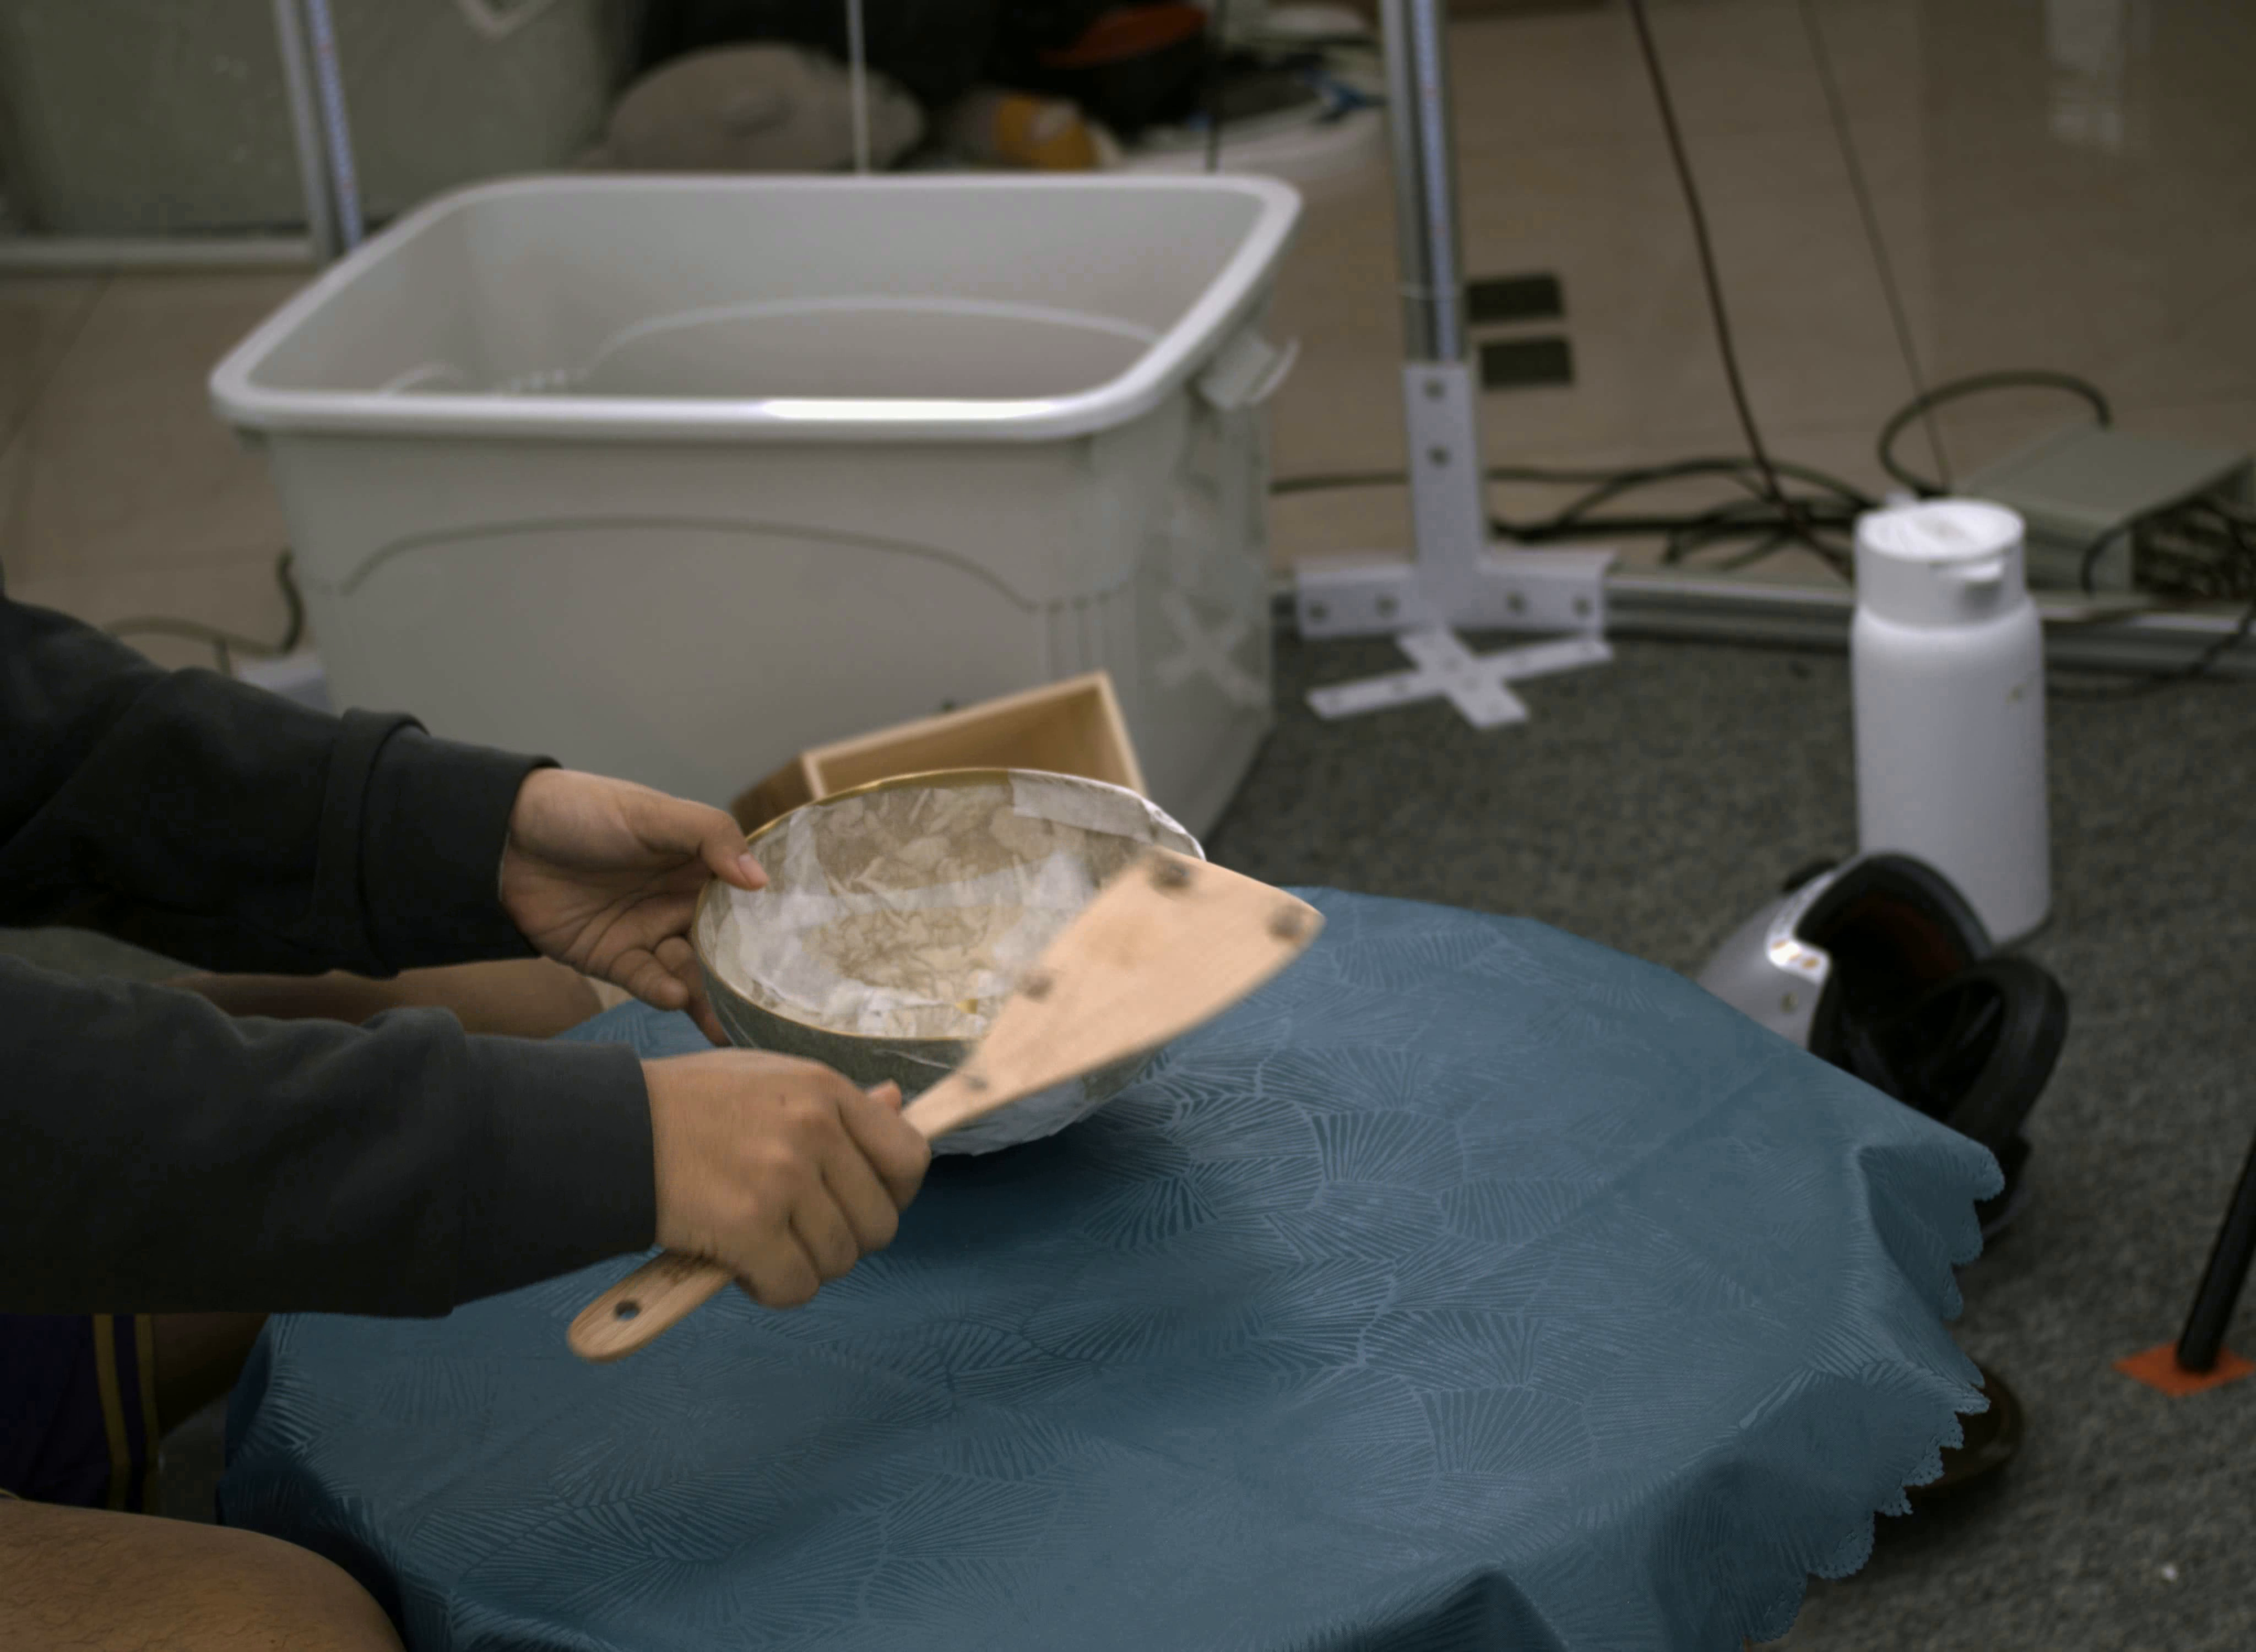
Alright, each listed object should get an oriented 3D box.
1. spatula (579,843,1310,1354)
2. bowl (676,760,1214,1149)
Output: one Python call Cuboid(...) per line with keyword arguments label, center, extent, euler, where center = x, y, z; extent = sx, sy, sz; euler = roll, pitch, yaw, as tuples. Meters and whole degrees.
Cuboid(label="spatula", center=(-0.070, 0.094, 1.991), extent=(0.079, 0.017, 0.324), euler=(30, 49, 33))
Cuboid(label="bowl", center=(-0.069, 0.063, 2.203), extent=(0.214, 0.096, 0.211), euler=(-2, 32, 1))
